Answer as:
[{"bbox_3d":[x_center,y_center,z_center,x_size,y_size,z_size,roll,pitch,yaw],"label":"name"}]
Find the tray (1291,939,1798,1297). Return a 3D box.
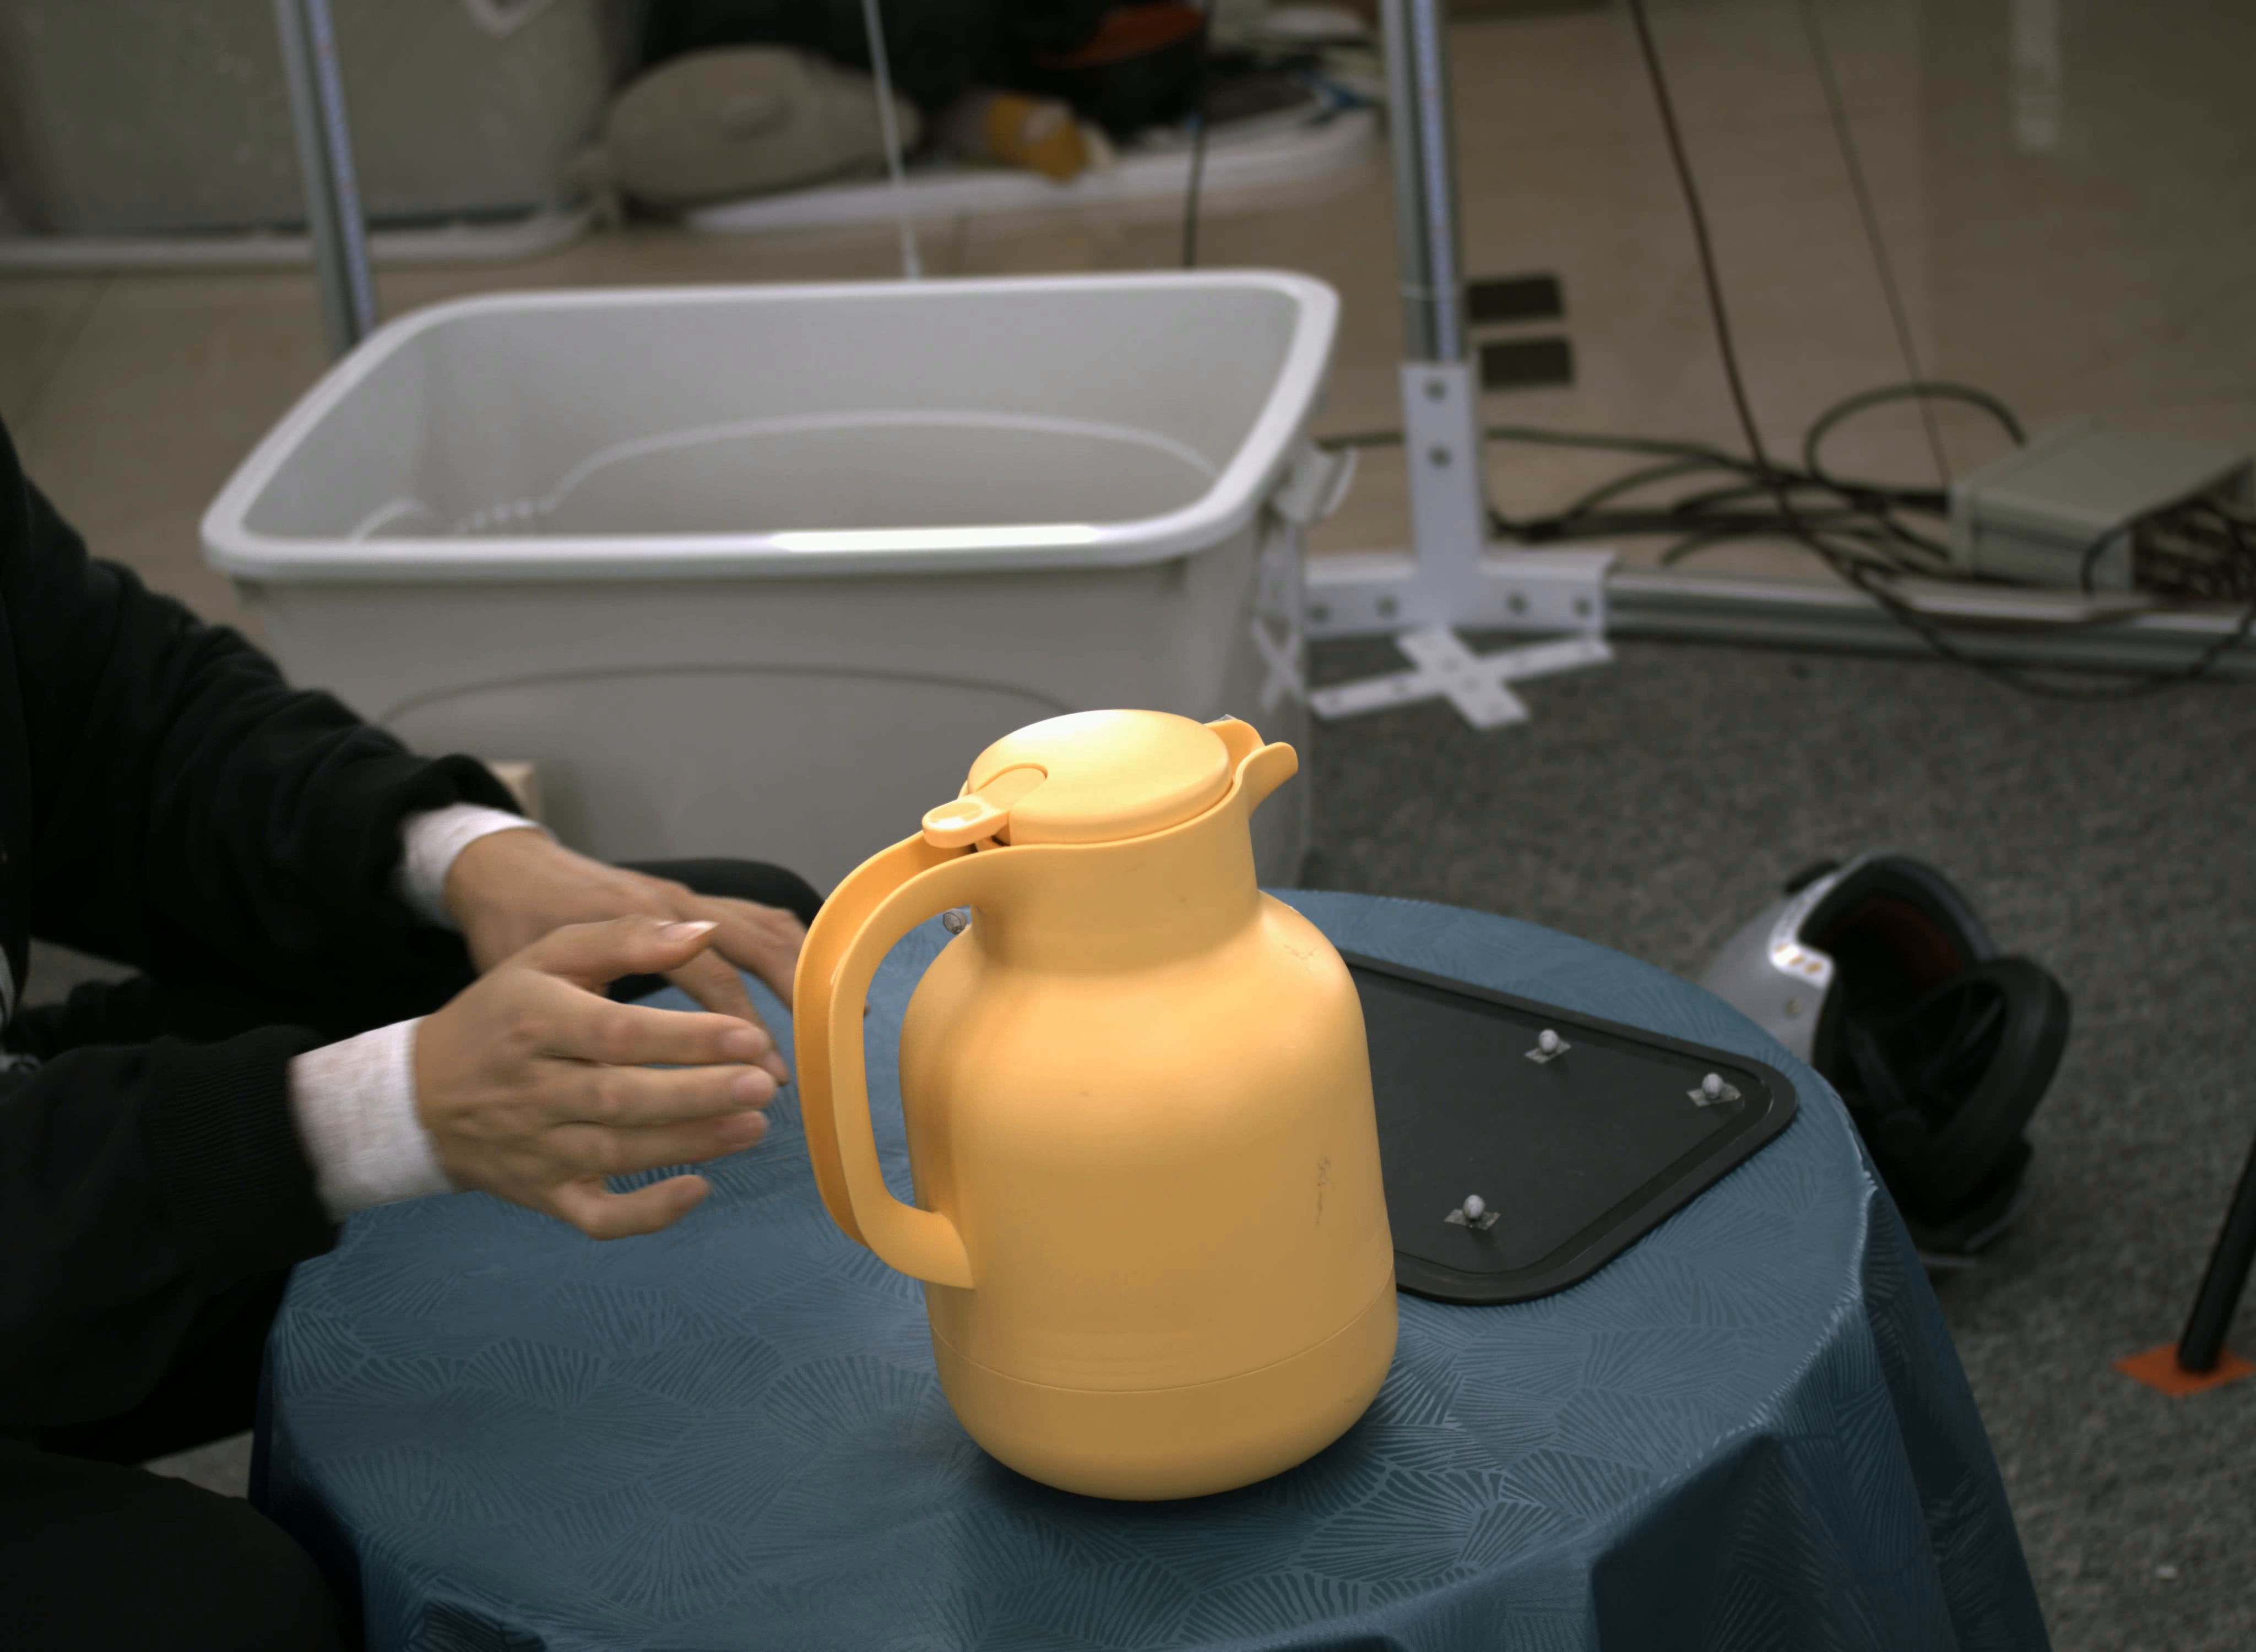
[{"bbox_3d":[0.083,0.106,2.193,0.323,0.010,0.209,15,32,38],"label":"tray"}]

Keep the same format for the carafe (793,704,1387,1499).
[{"bbox_3d":[-0.016,0.094,1.933,0.201,0.264,0.162,-17,25,-25],"label":"carafe"}]
